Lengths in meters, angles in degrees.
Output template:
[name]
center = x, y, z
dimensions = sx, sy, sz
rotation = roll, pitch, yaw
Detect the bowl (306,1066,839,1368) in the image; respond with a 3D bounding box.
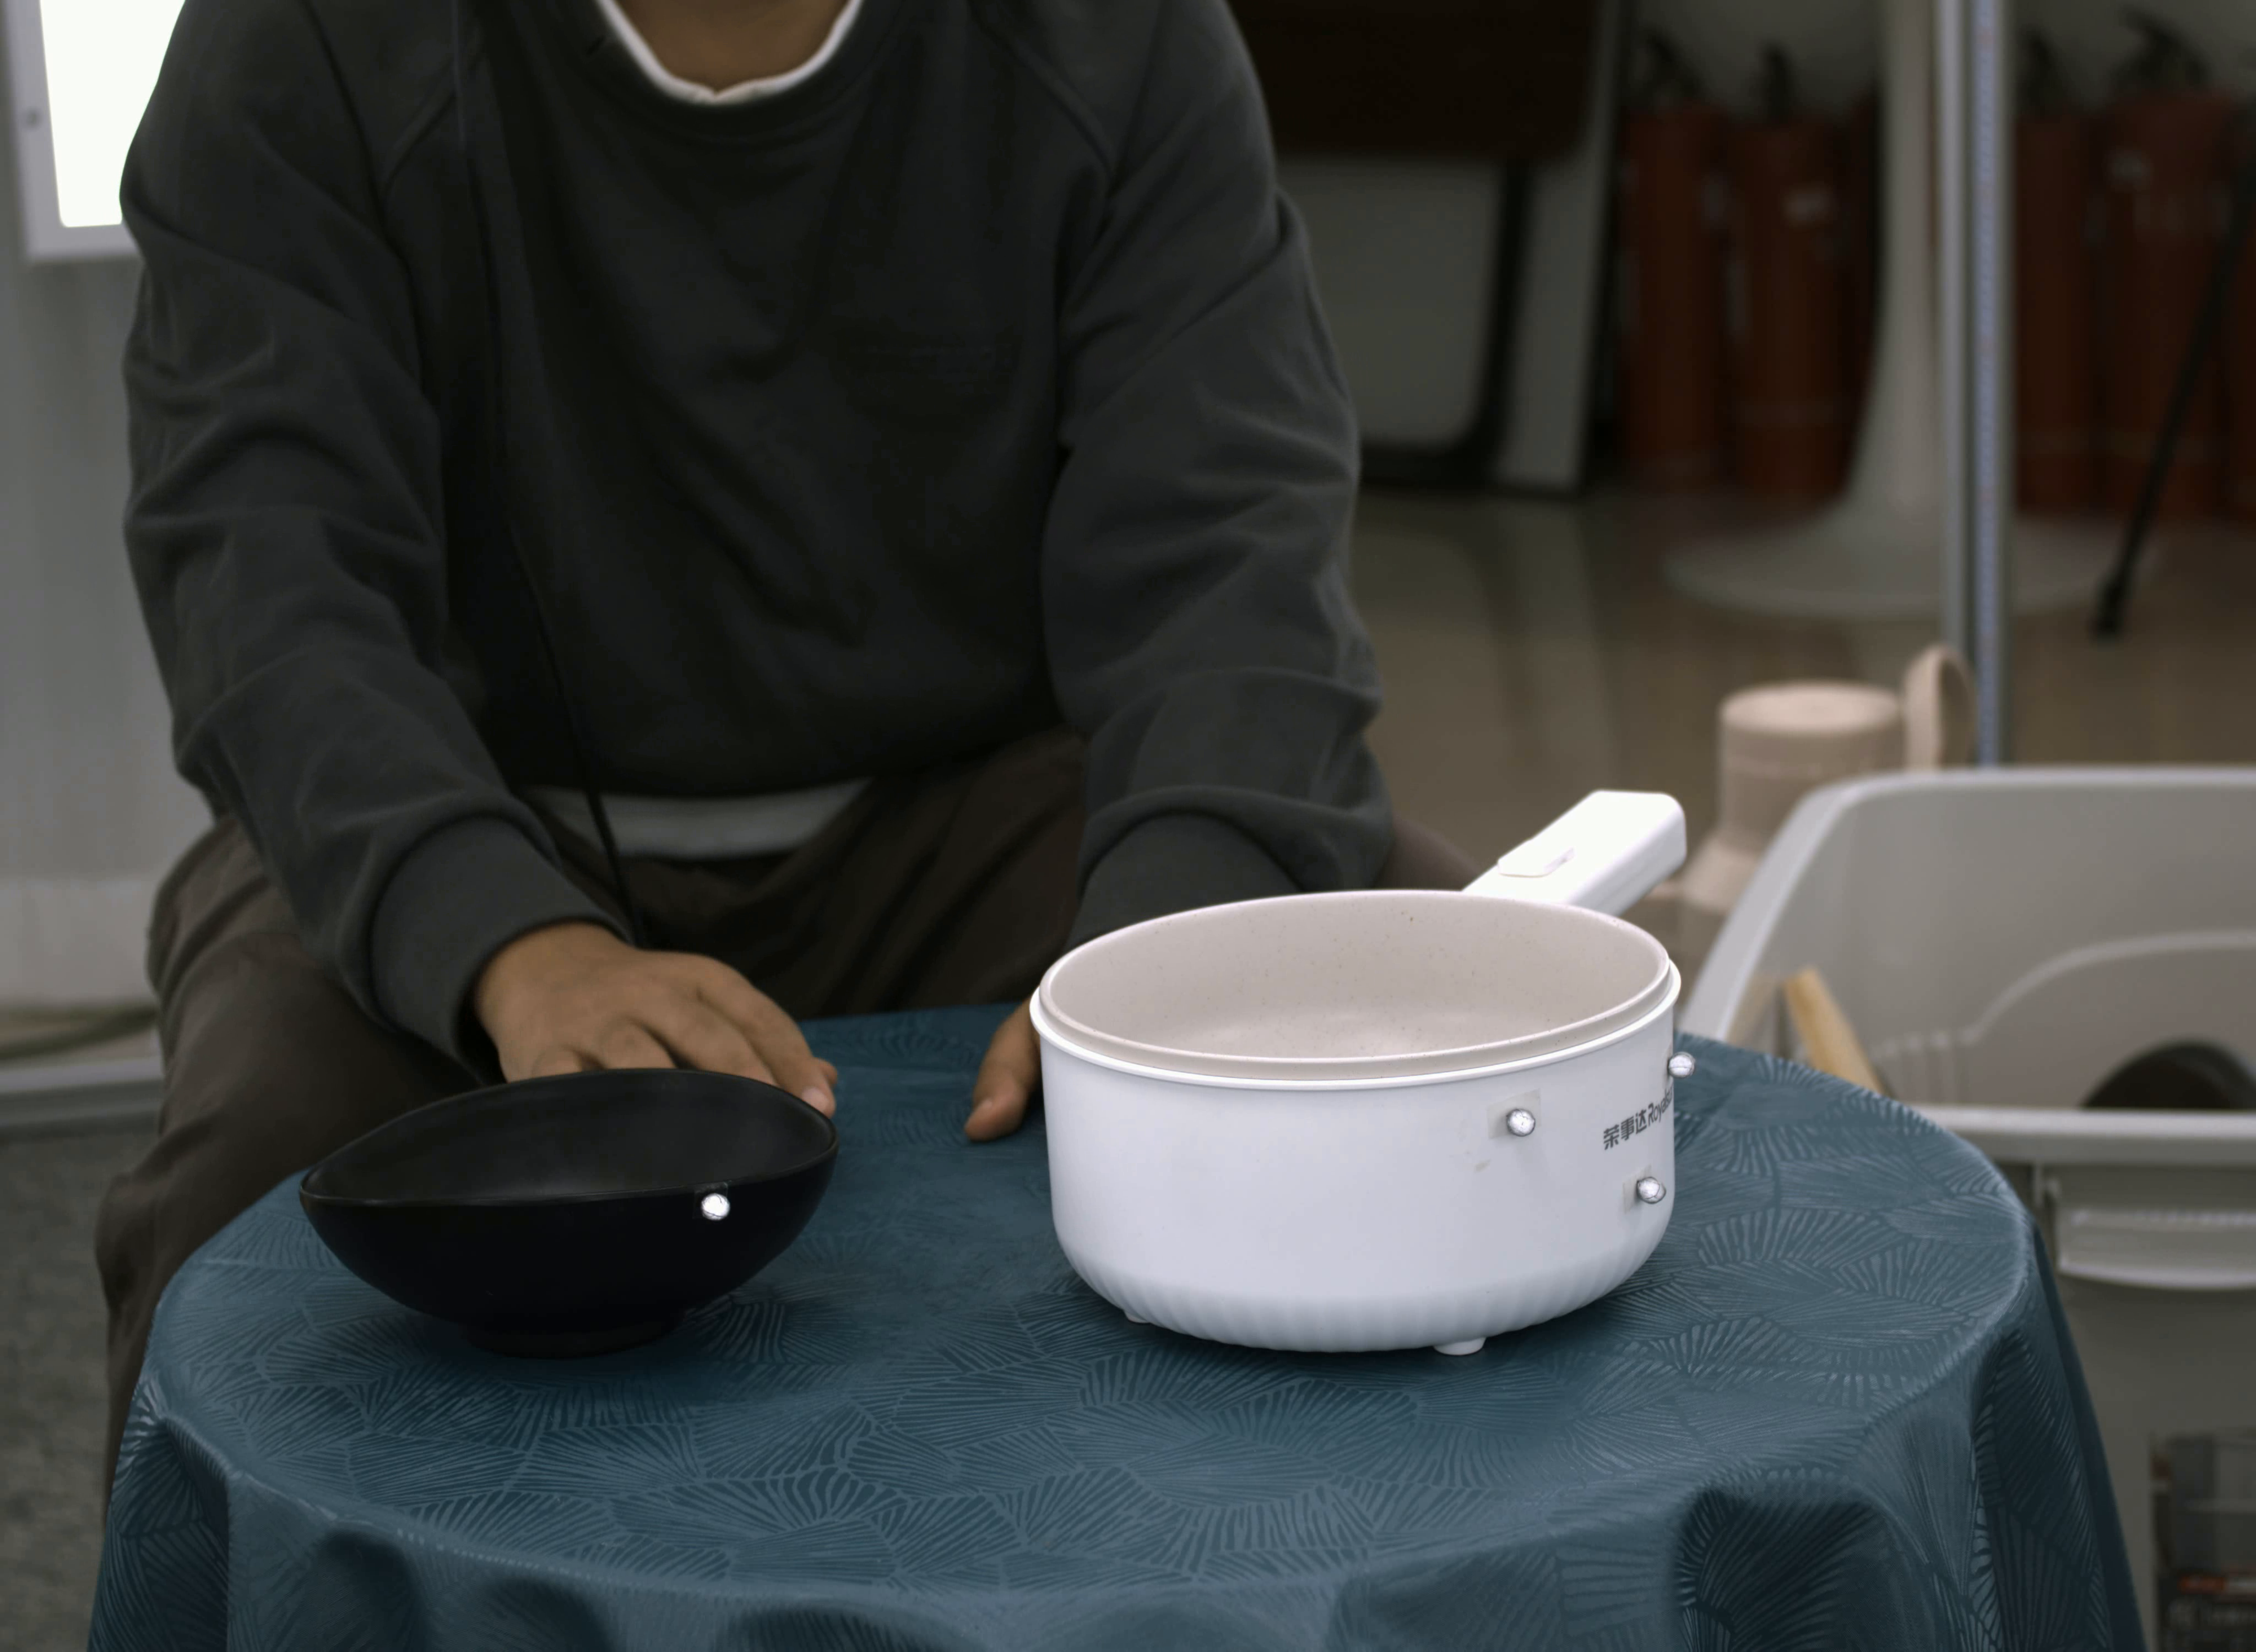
[bowl]
center = -0.170, 0.126, 1.668
dimensions = 0.169, 0.067, 0.137
rotation = -4, 13, 8

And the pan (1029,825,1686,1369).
[pan]
center = 0.104, 0.083, 1.726
dimensions = 0.201, 0.103, 0.350
rotation = -1, 11, 26
